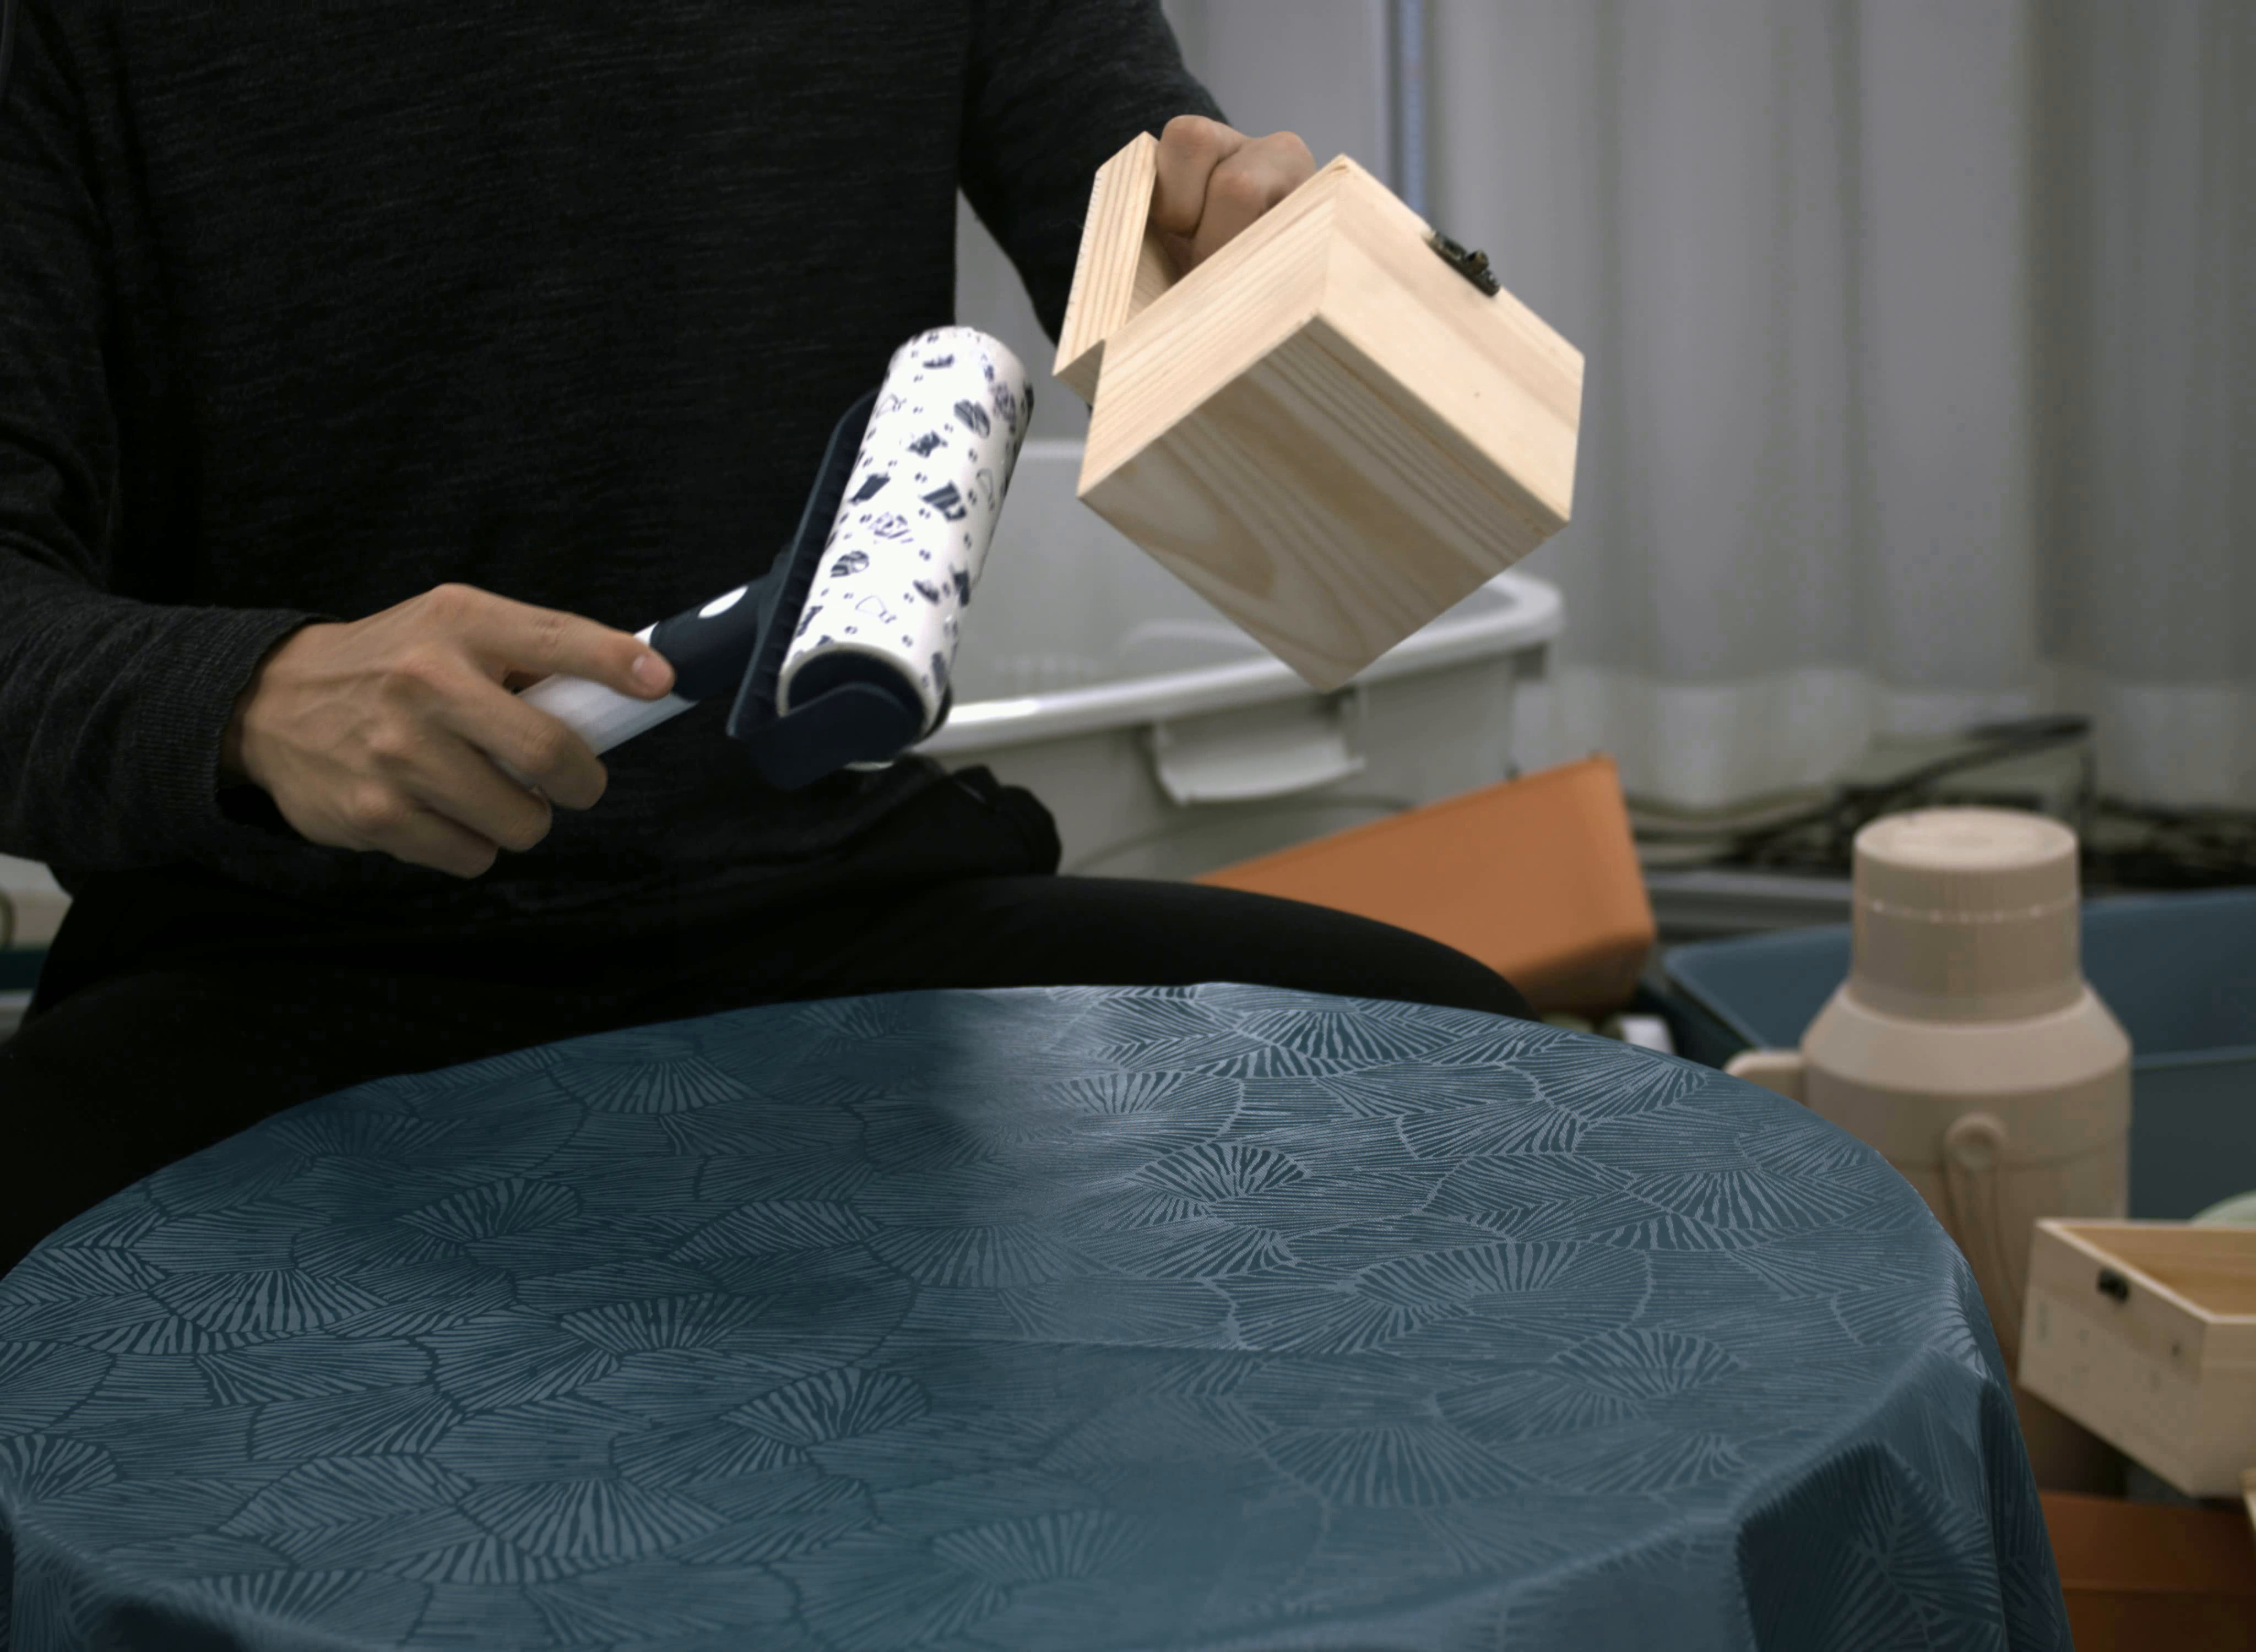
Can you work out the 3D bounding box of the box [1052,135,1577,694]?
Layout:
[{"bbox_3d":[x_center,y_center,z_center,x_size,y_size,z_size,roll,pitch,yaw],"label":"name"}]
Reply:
[{"bbox_3d":[0.058,-0.147,1.634,0.133,0.101,0.187,-35,28,33],"label":"box"}]

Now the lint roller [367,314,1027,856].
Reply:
[{"bbox_3d":[-0.145,-0.051,1.677,0.246,0.050,0.179,-25,32,28],"label":"lint roller"}]
